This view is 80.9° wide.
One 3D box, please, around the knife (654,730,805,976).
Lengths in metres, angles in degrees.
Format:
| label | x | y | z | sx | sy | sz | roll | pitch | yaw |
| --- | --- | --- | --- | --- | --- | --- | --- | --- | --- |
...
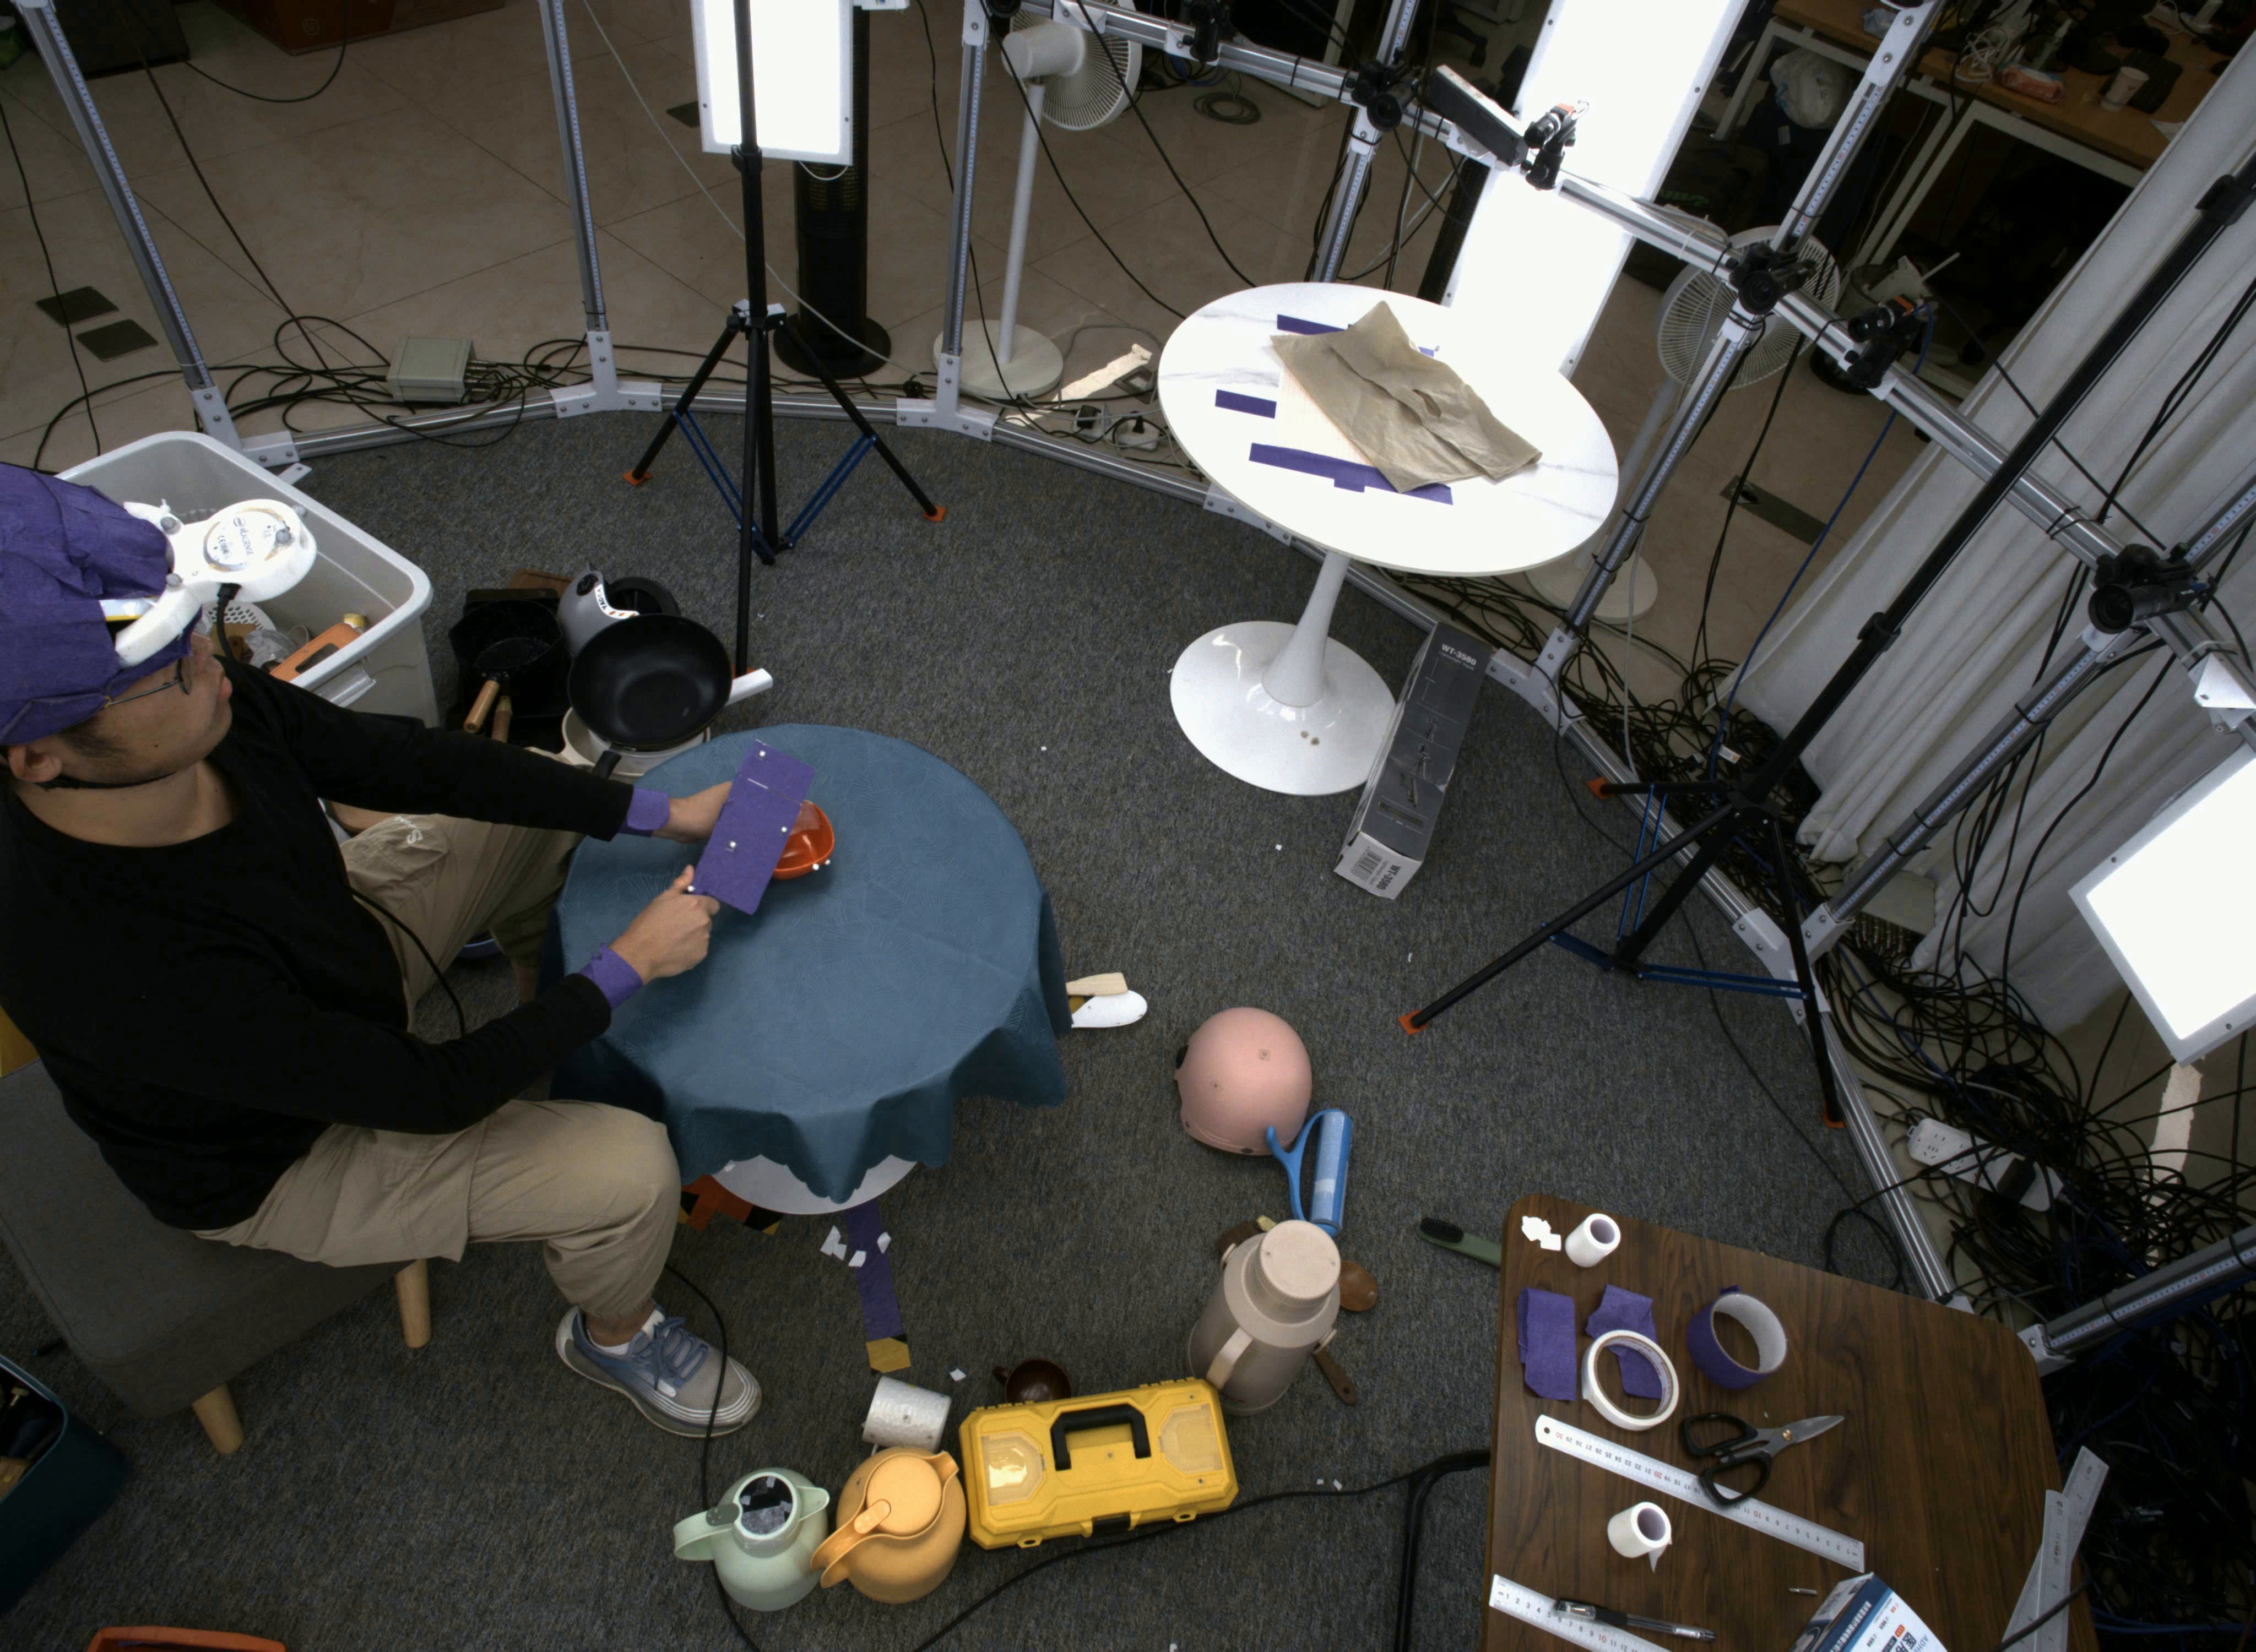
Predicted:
| label | x | y | z | sx | sy | sz | roll | pitch | yaw |
| --- | --- | --- | --- | --- | --- | --- | --- | --- | --- |
| knife | -0.479 | 0.041 | 1.578 | 0.107 | 0.031 | 0.315 | 29 | 69 | -31 |

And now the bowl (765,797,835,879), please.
| label | x | y | z | sx | sy | sz | roll | pitch | yaw |
| --- | --- | --- | --- | --- | --- | --- | --- | --- | --- |
| bowl | -0.436 | 0.022 | 1.665 | 0.119 | 0.052 | 0.117 | 9 | 51 | -9 |
